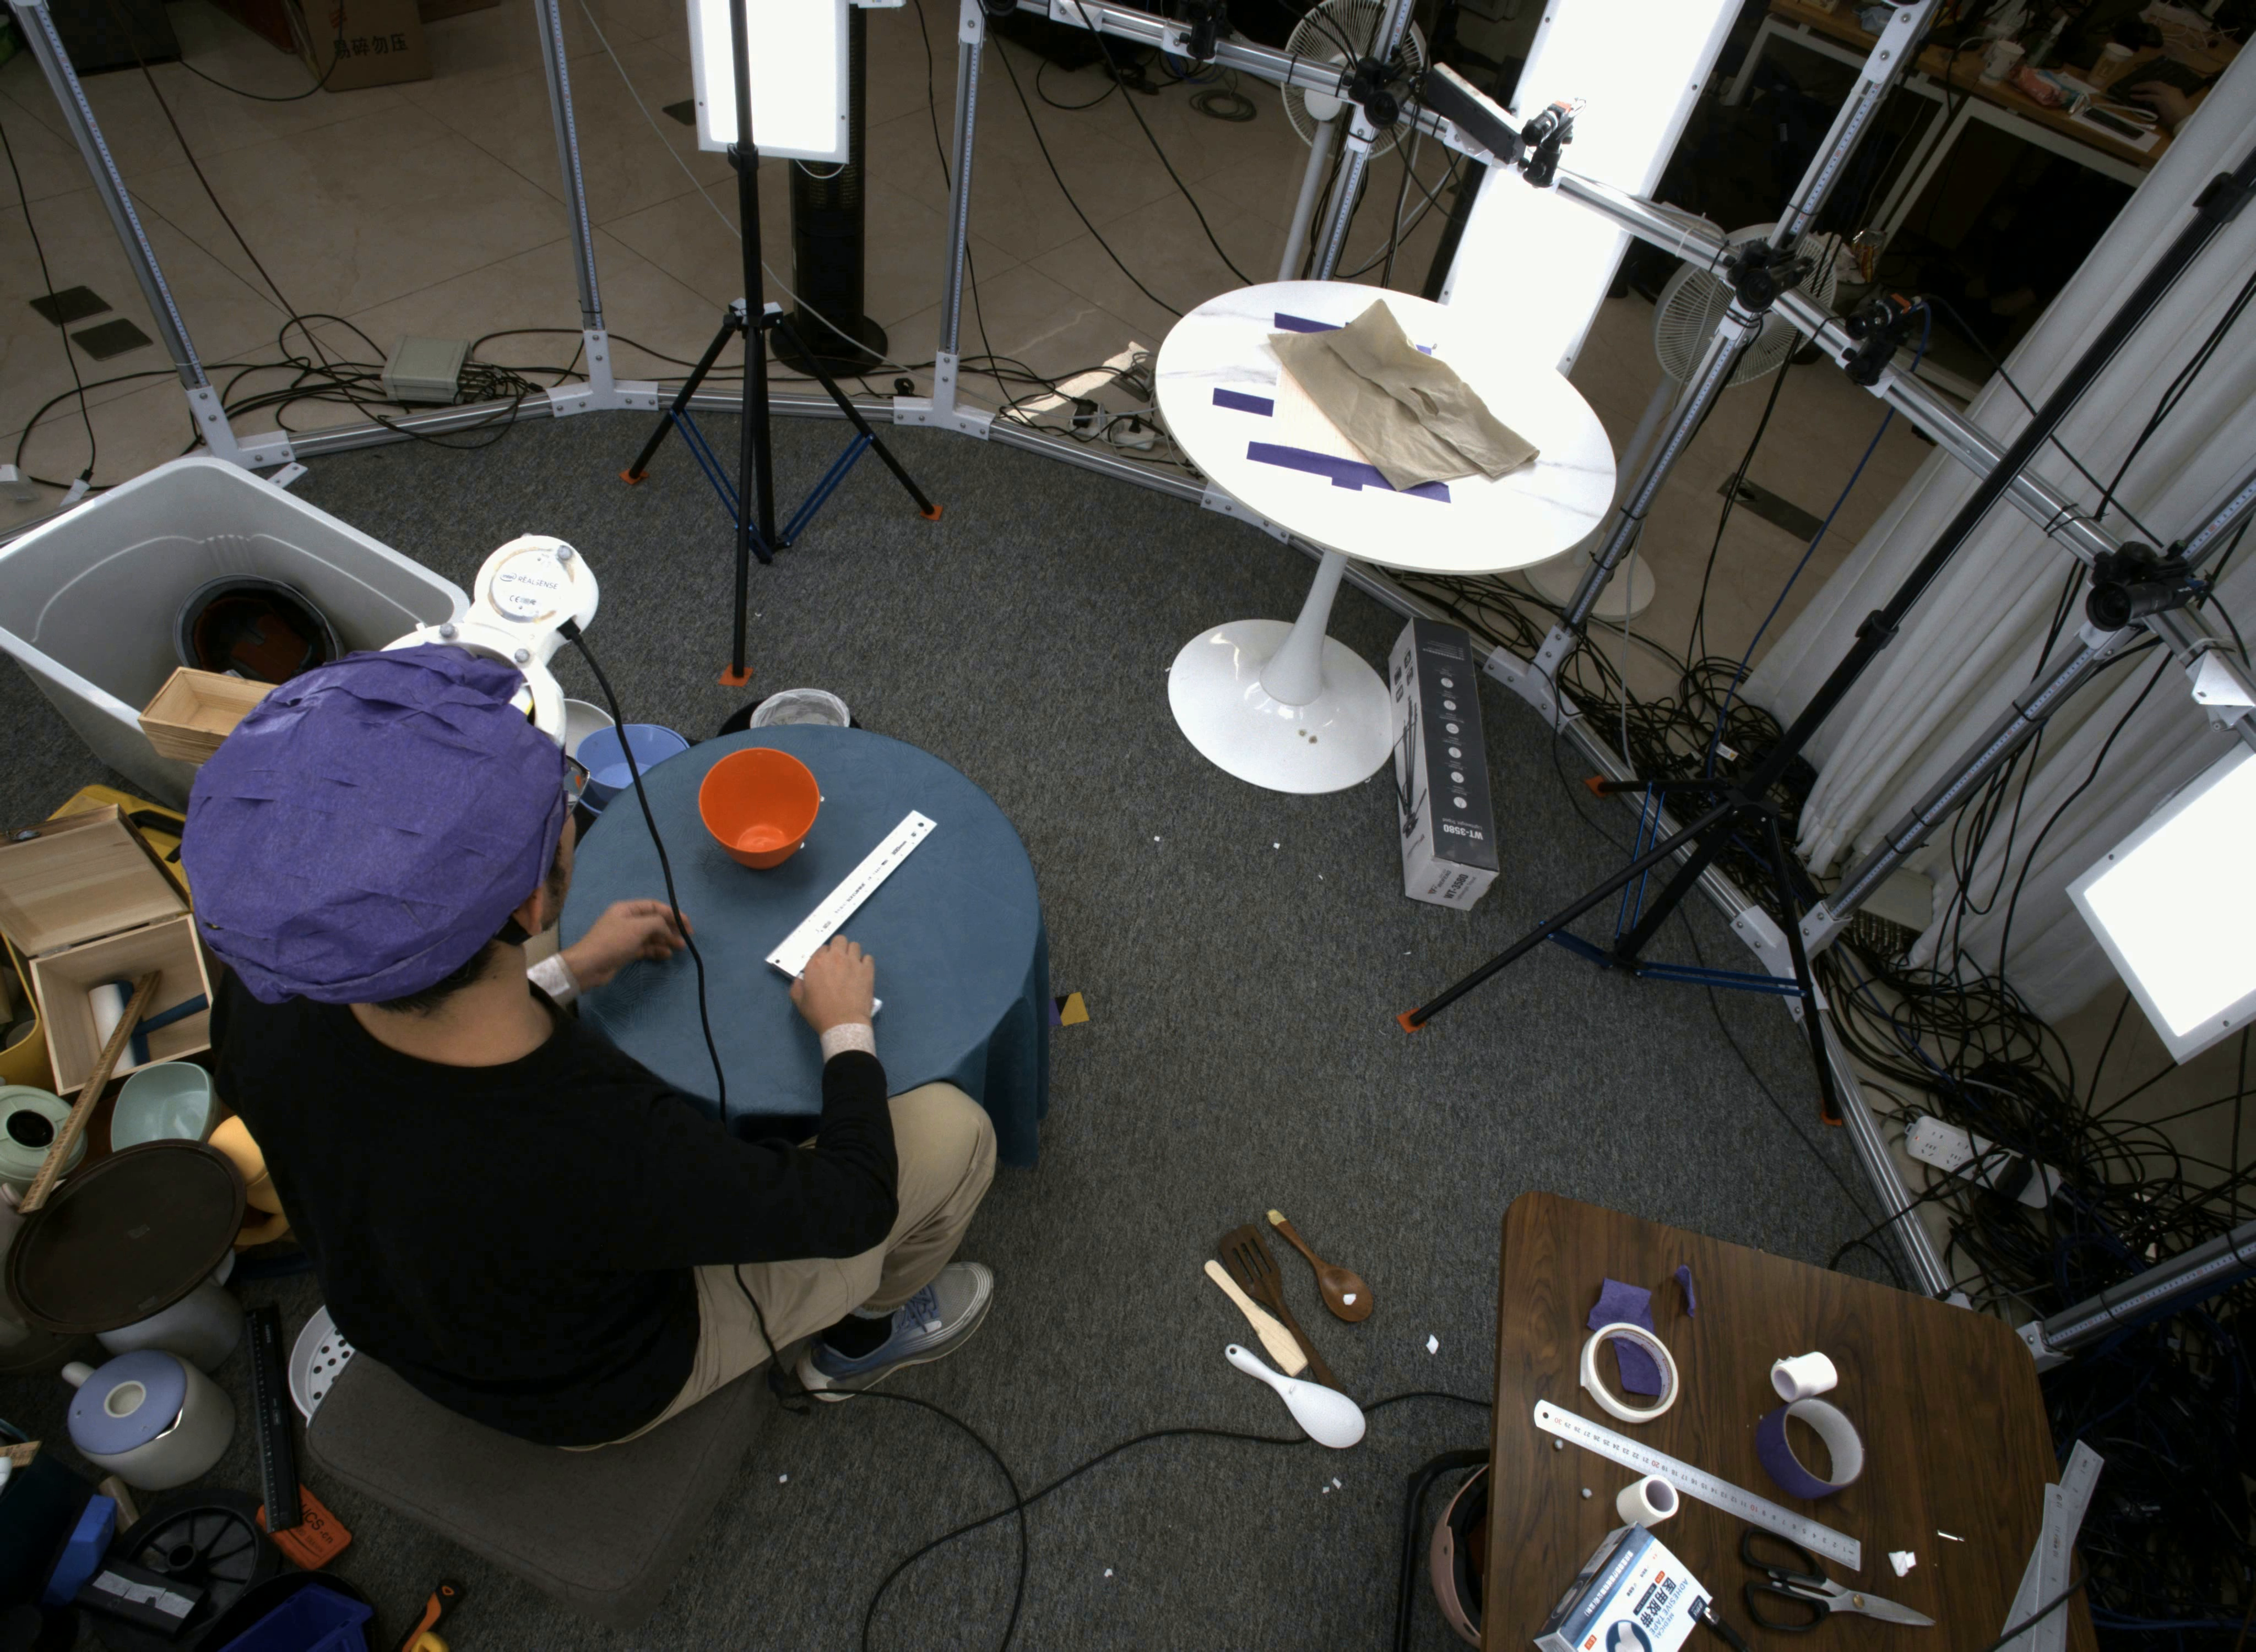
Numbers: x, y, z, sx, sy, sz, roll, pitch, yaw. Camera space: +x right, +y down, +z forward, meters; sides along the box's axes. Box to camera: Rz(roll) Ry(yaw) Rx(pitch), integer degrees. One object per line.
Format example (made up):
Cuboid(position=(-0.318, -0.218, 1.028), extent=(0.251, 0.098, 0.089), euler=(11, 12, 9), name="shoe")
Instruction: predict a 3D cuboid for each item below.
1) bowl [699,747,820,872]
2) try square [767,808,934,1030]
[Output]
Cuboid(position=(-0.468, -0.010, 1.650), extent=(0.148, 0.106, 0.145), euler=(8, 52, -9), name="bowl")
Cuboid(position=(-0.306, 0.109, 1.664), extent=(0.150, 0.016, 0.311), euler=(32, 50, 6), name="try square")
